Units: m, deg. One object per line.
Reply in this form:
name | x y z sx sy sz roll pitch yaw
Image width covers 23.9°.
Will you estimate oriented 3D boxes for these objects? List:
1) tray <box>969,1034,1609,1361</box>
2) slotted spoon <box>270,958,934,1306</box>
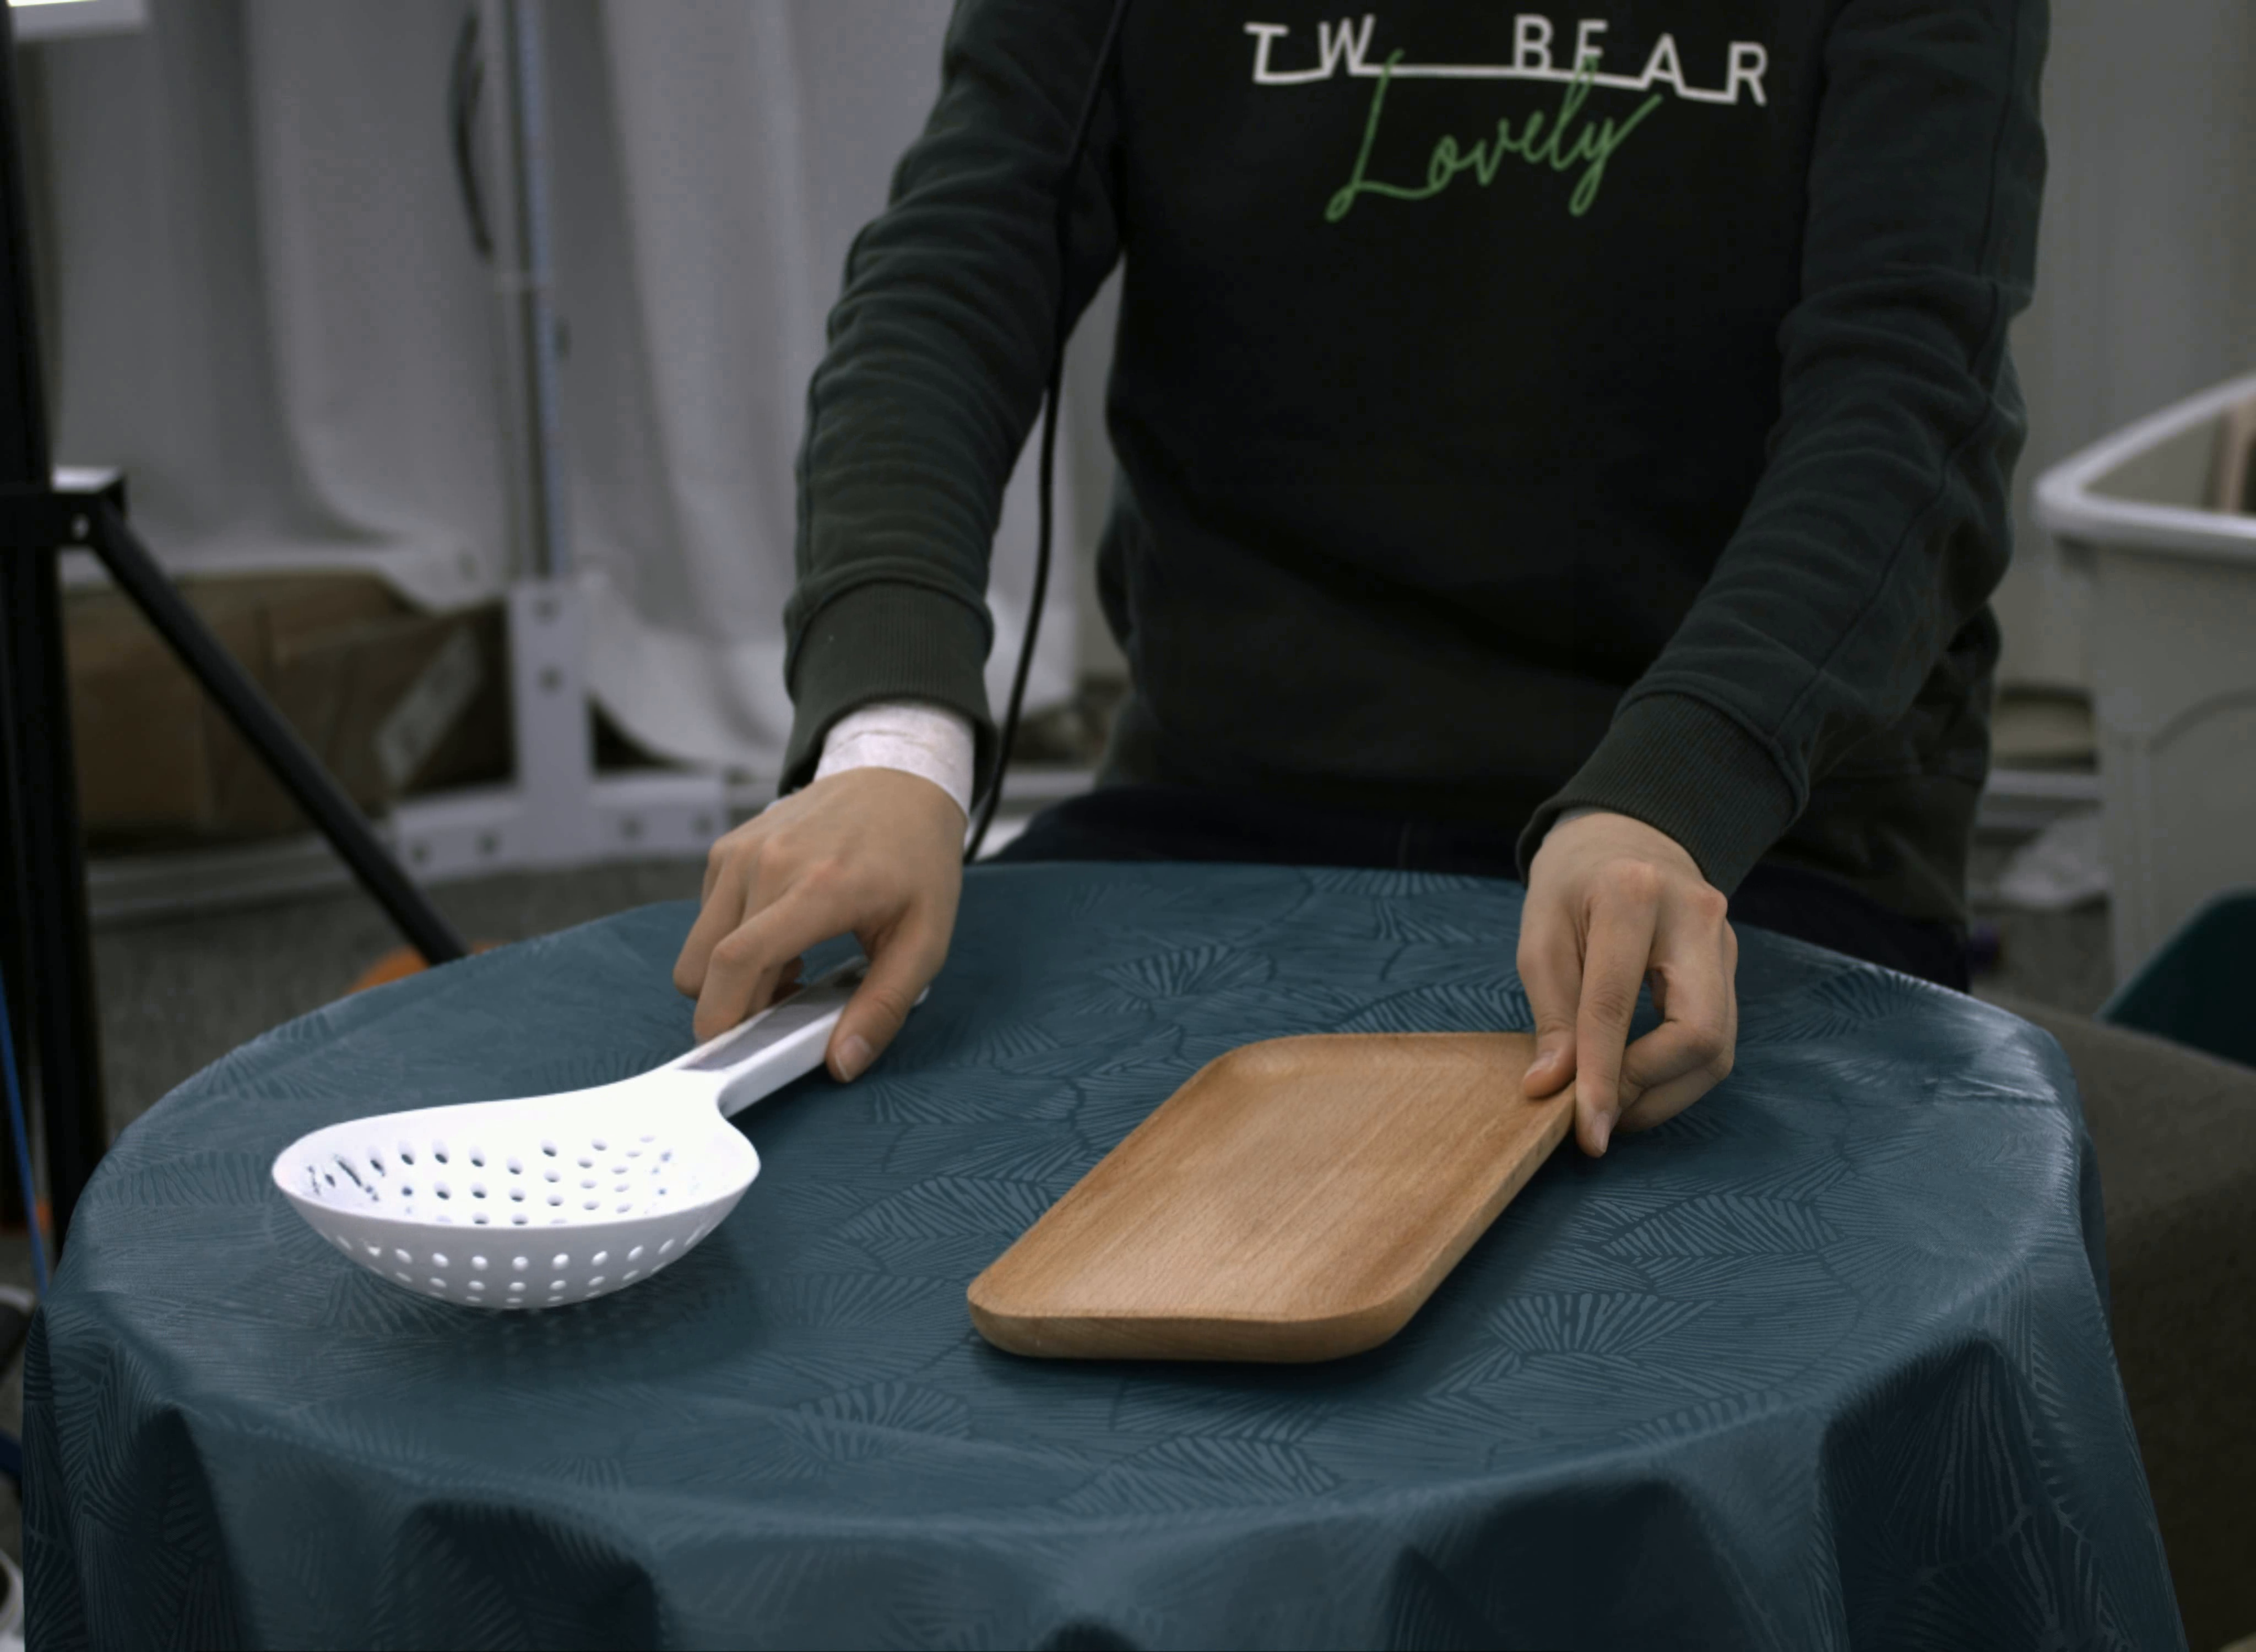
tray | 0.051 0.104 1.518 0.132 0.023 0.247 1 15 22
slotted spoon | -0.135 0.082 1.590 0.137 0.046 0.345 6 17 20
